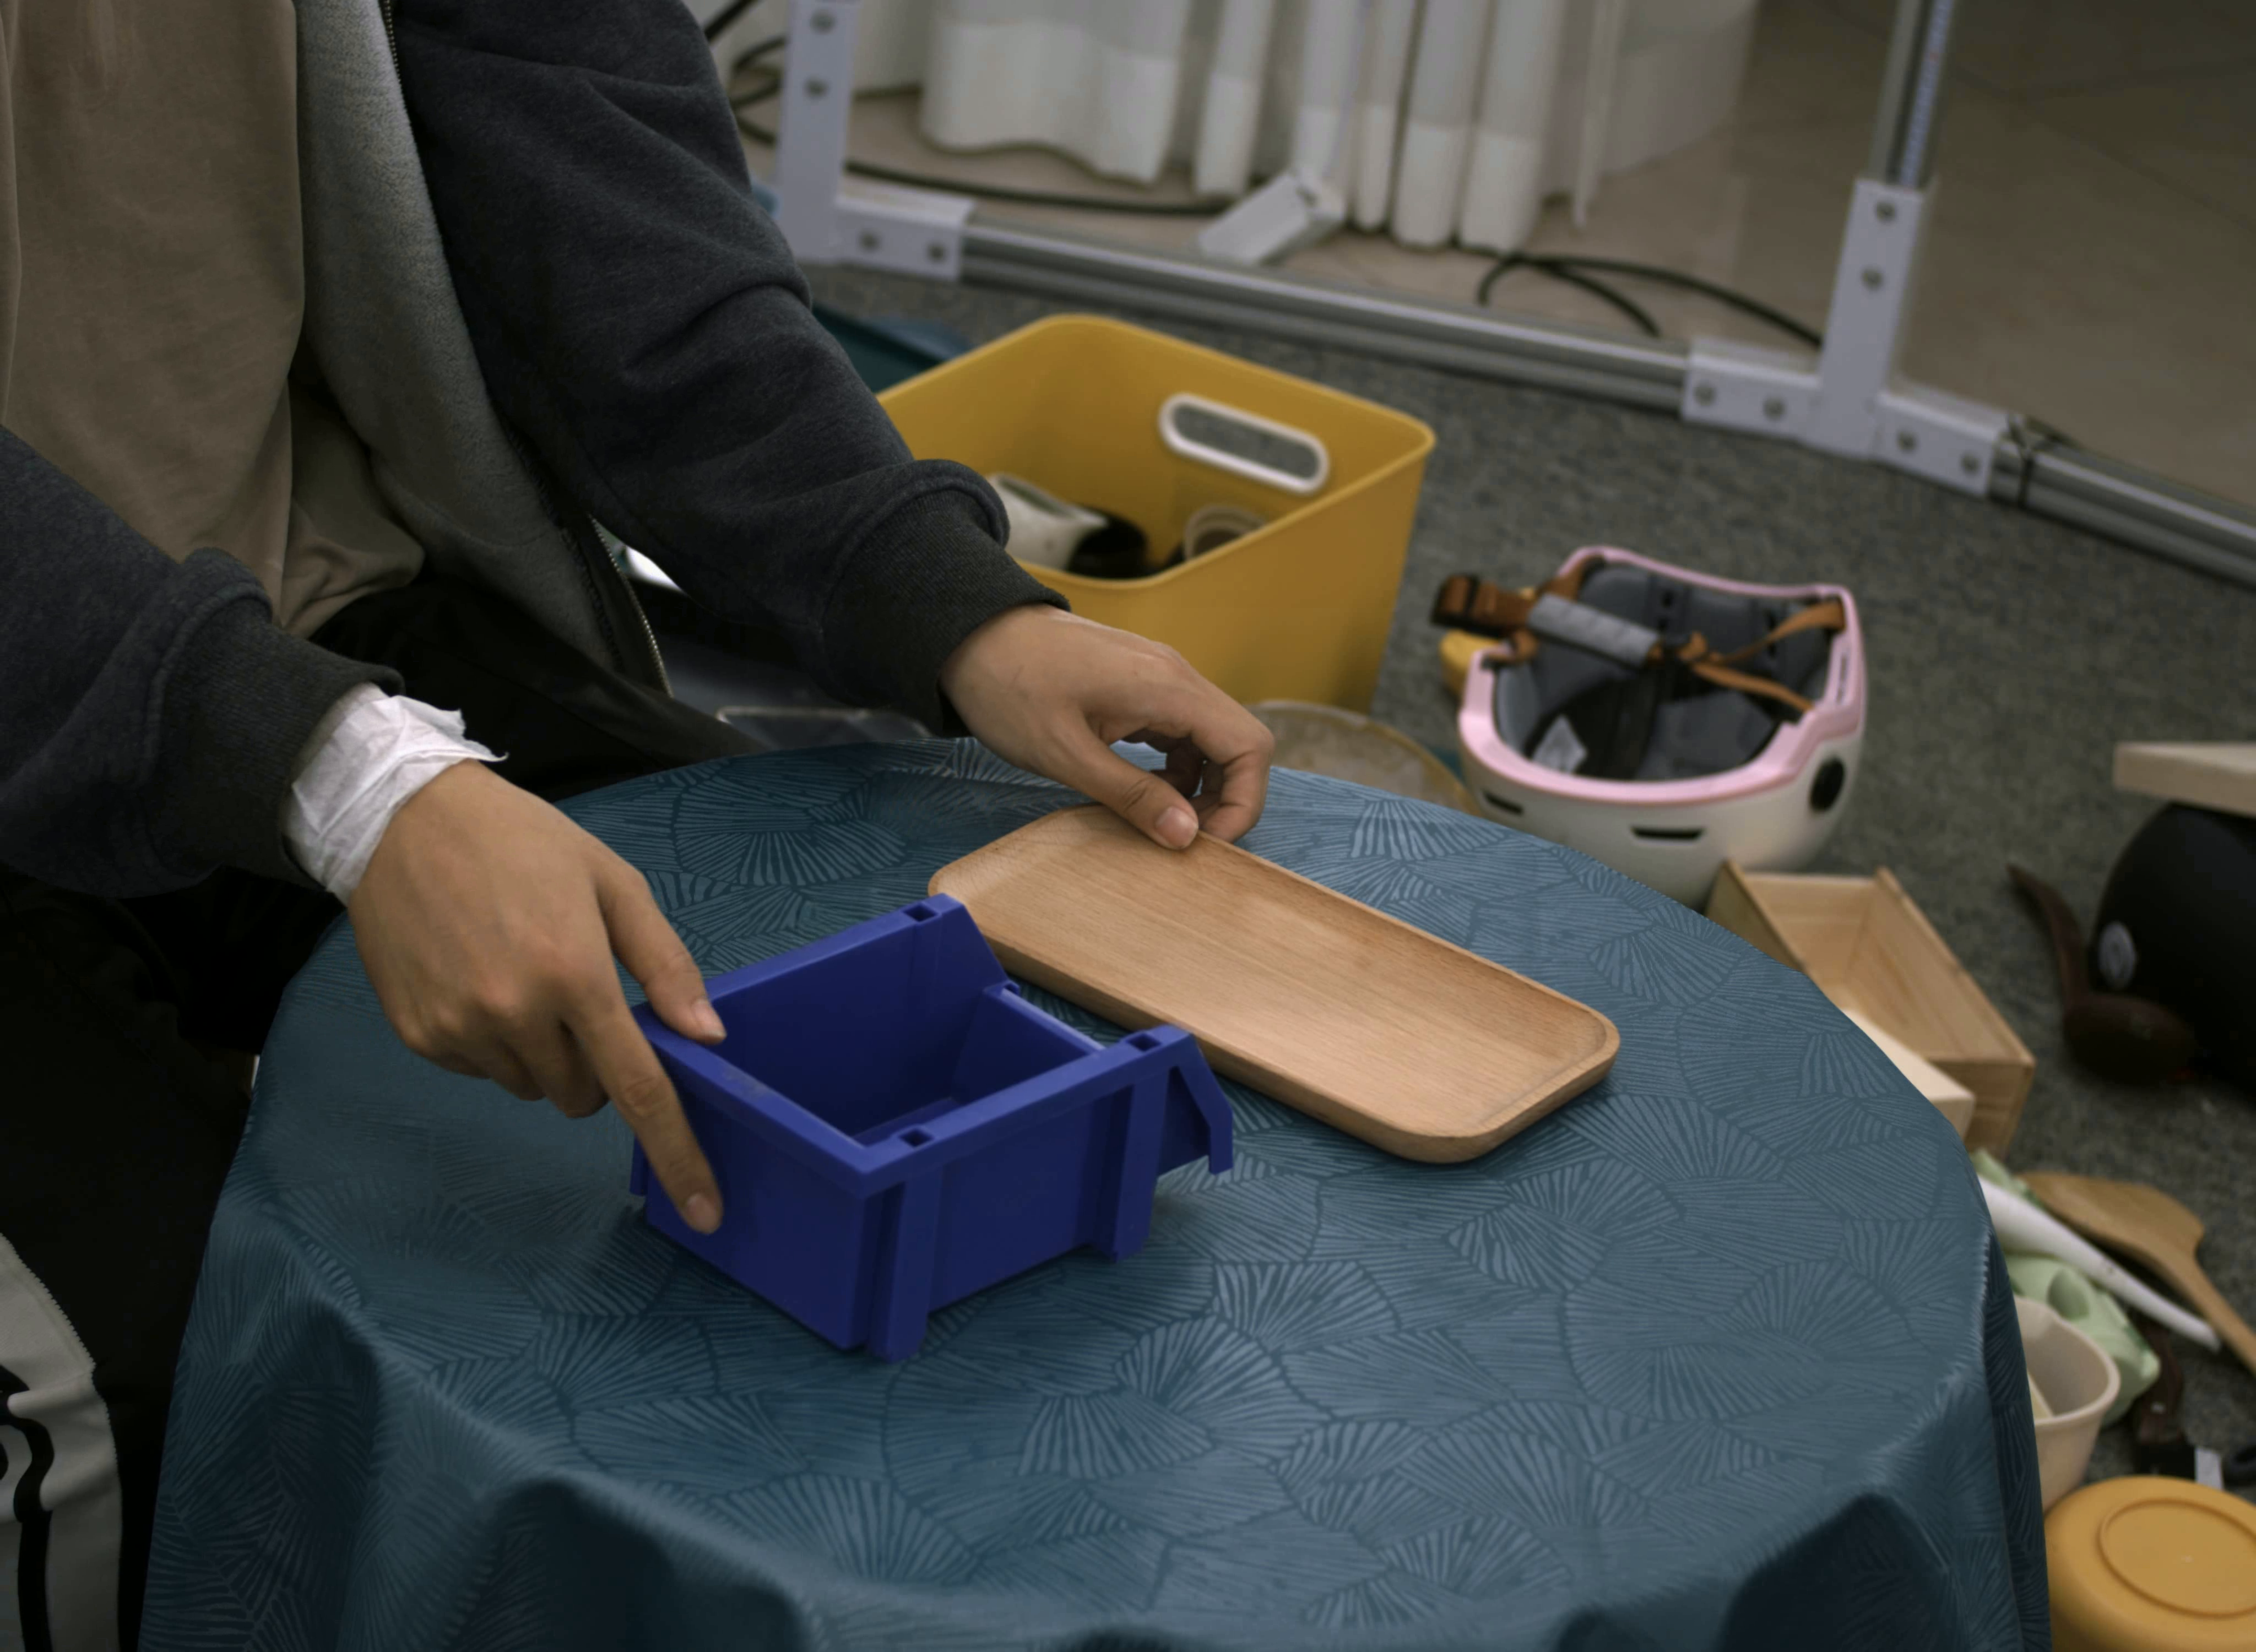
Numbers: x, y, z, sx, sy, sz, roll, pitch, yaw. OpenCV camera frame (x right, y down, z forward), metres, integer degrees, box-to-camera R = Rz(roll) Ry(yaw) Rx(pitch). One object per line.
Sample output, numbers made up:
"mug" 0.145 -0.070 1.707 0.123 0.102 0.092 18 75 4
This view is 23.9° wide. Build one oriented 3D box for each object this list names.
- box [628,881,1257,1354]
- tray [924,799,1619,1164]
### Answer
"box" -0.061 0.091 1.761 0.178 0.081 0.125 -22 38 -38
"tray" 0.050 0.054 1.929 0.252 0.023 0.130 24 29 32
